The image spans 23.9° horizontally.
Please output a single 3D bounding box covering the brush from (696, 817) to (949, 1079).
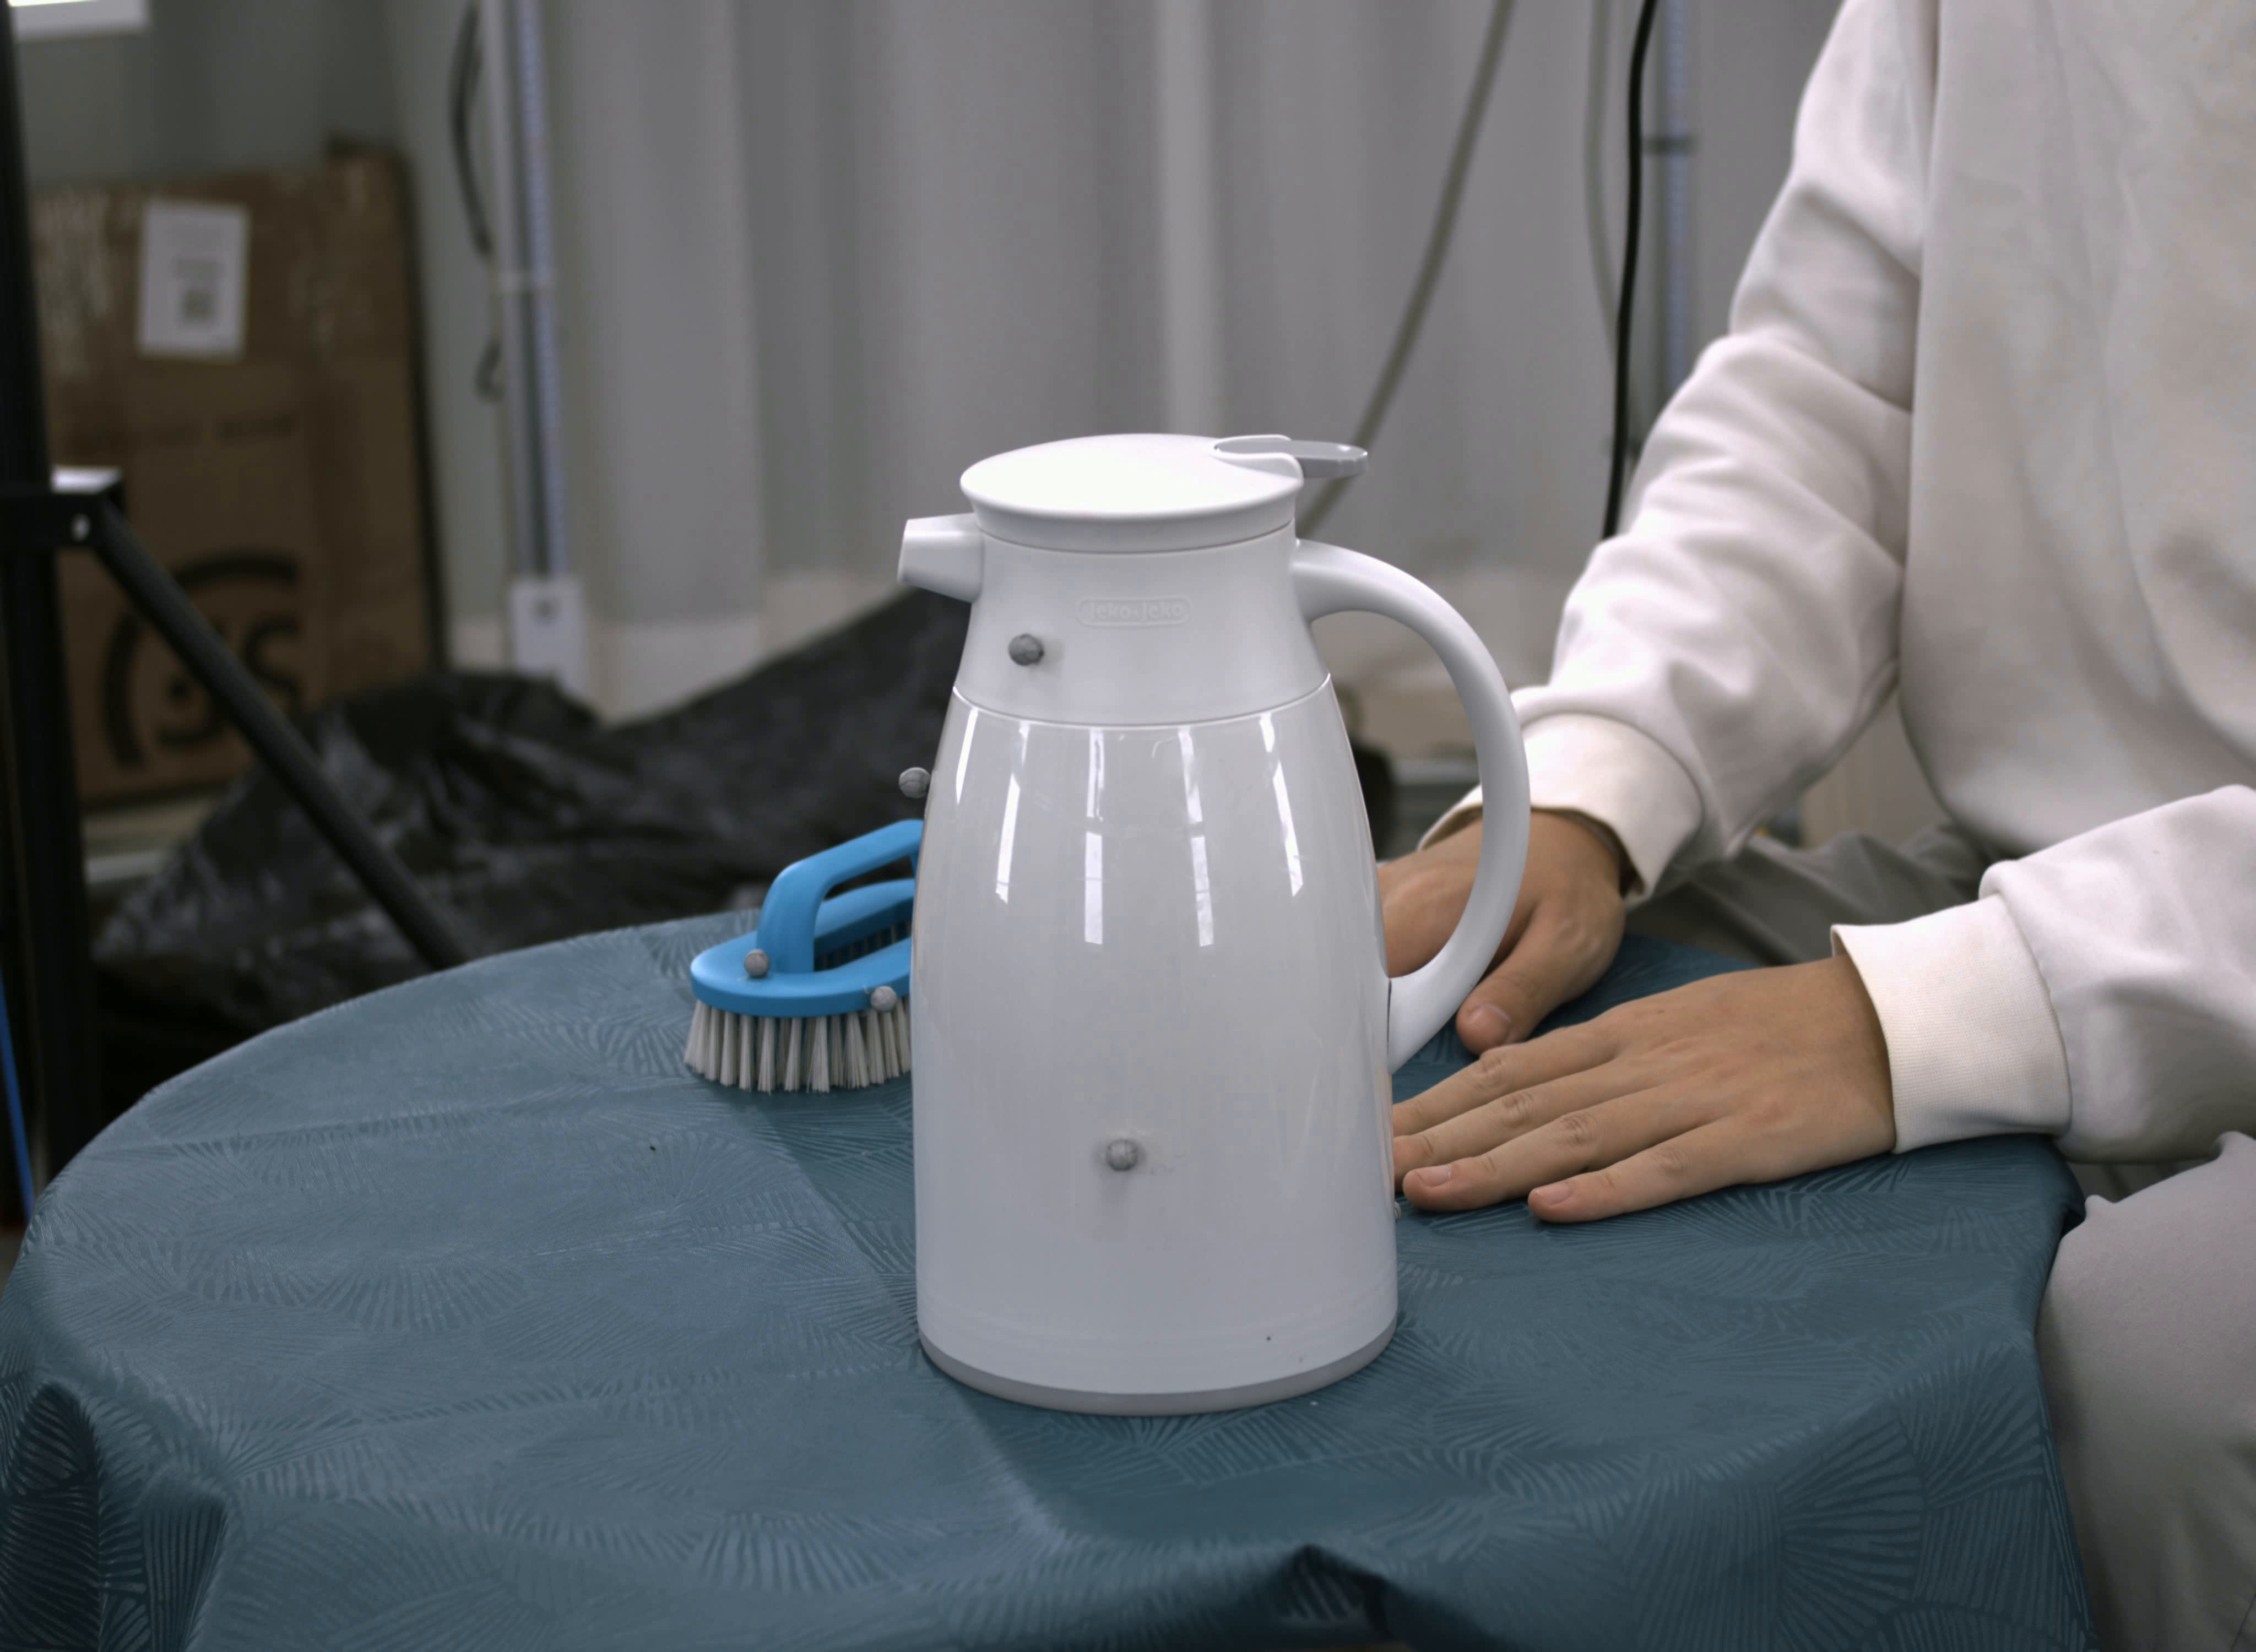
[{"bbox_3d":[-0.082,0.034,1.712,0.086,0.064,0.139,4,15,38],"label":"brush"}]

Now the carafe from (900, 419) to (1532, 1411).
[{"bbox_3d":[0.024,0.016,1.422,0.167,0.248,0.133,-1,15,2],"label":"carafe"}]
